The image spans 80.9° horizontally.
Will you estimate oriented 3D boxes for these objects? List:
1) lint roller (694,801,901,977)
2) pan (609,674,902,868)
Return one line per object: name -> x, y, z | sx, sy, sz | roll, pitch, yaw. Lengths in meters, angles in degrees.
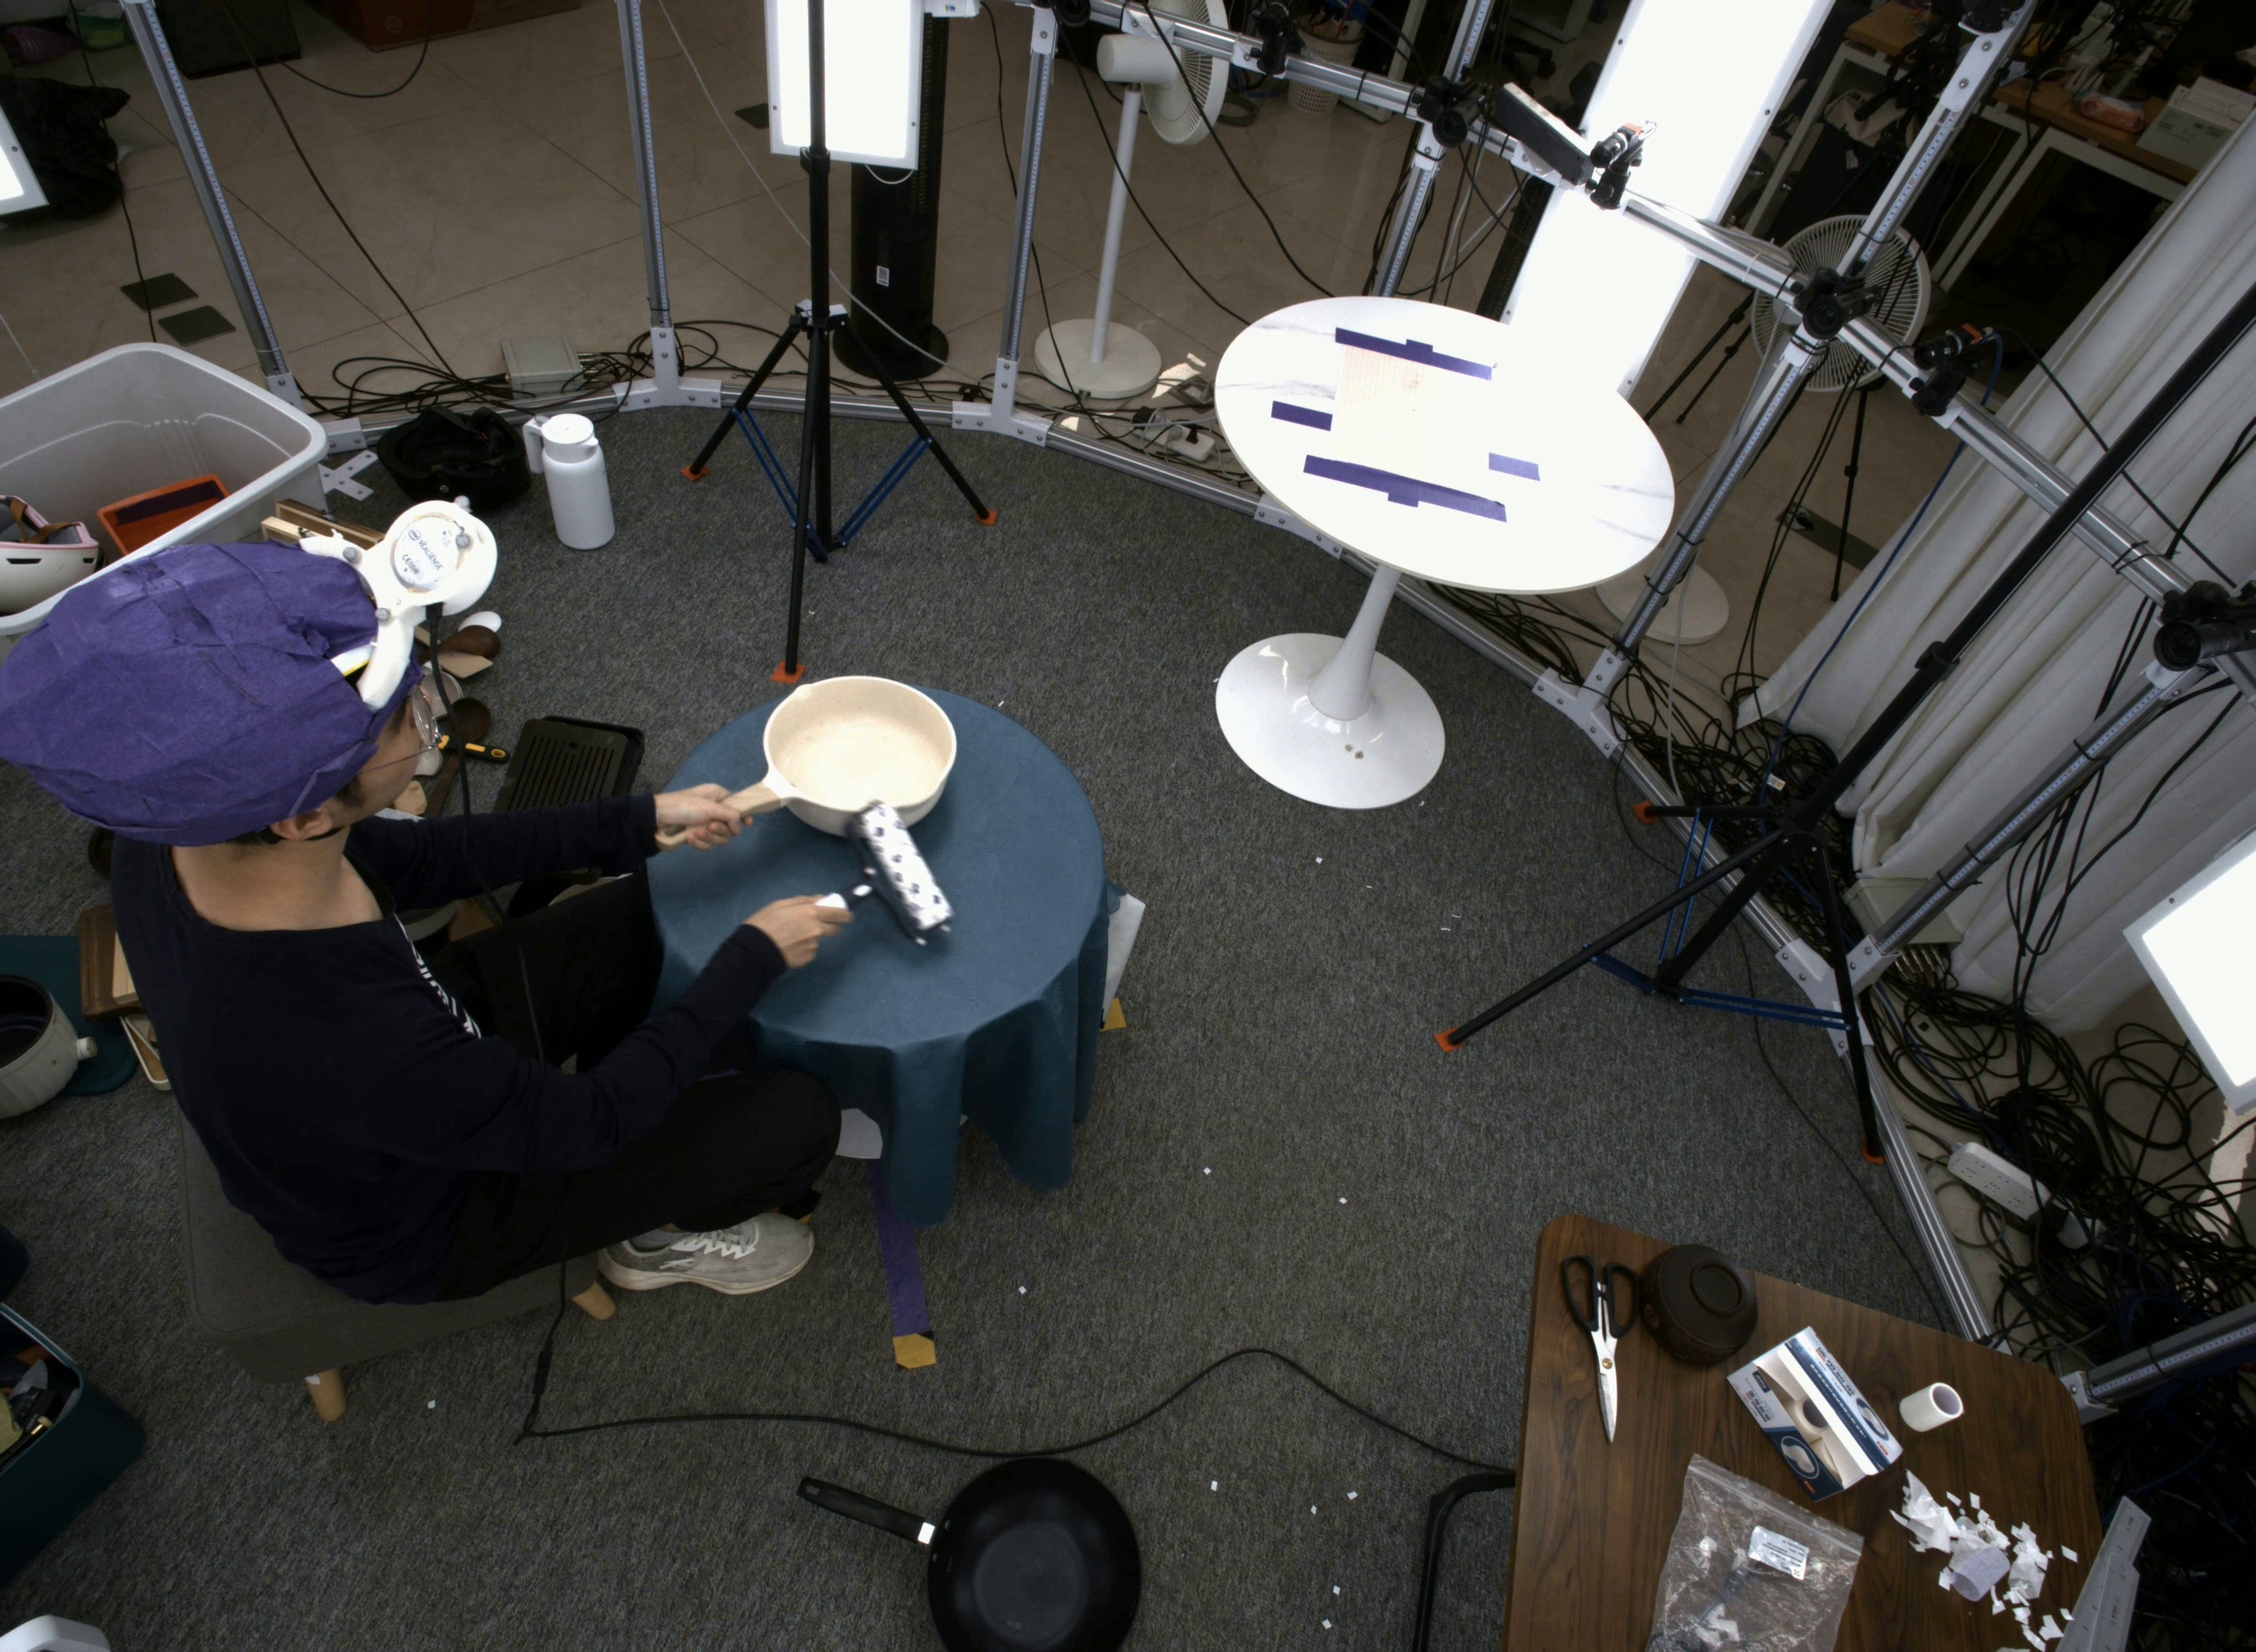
lint roller -> -0.415, 0.103, 1.568 | 0.247, 0.049, 0.179 | -37, 100, -29
pan -> -0.486, -0.046, 1.674 | 0.257, 0.104, 0.435 | 36, 51, 18
